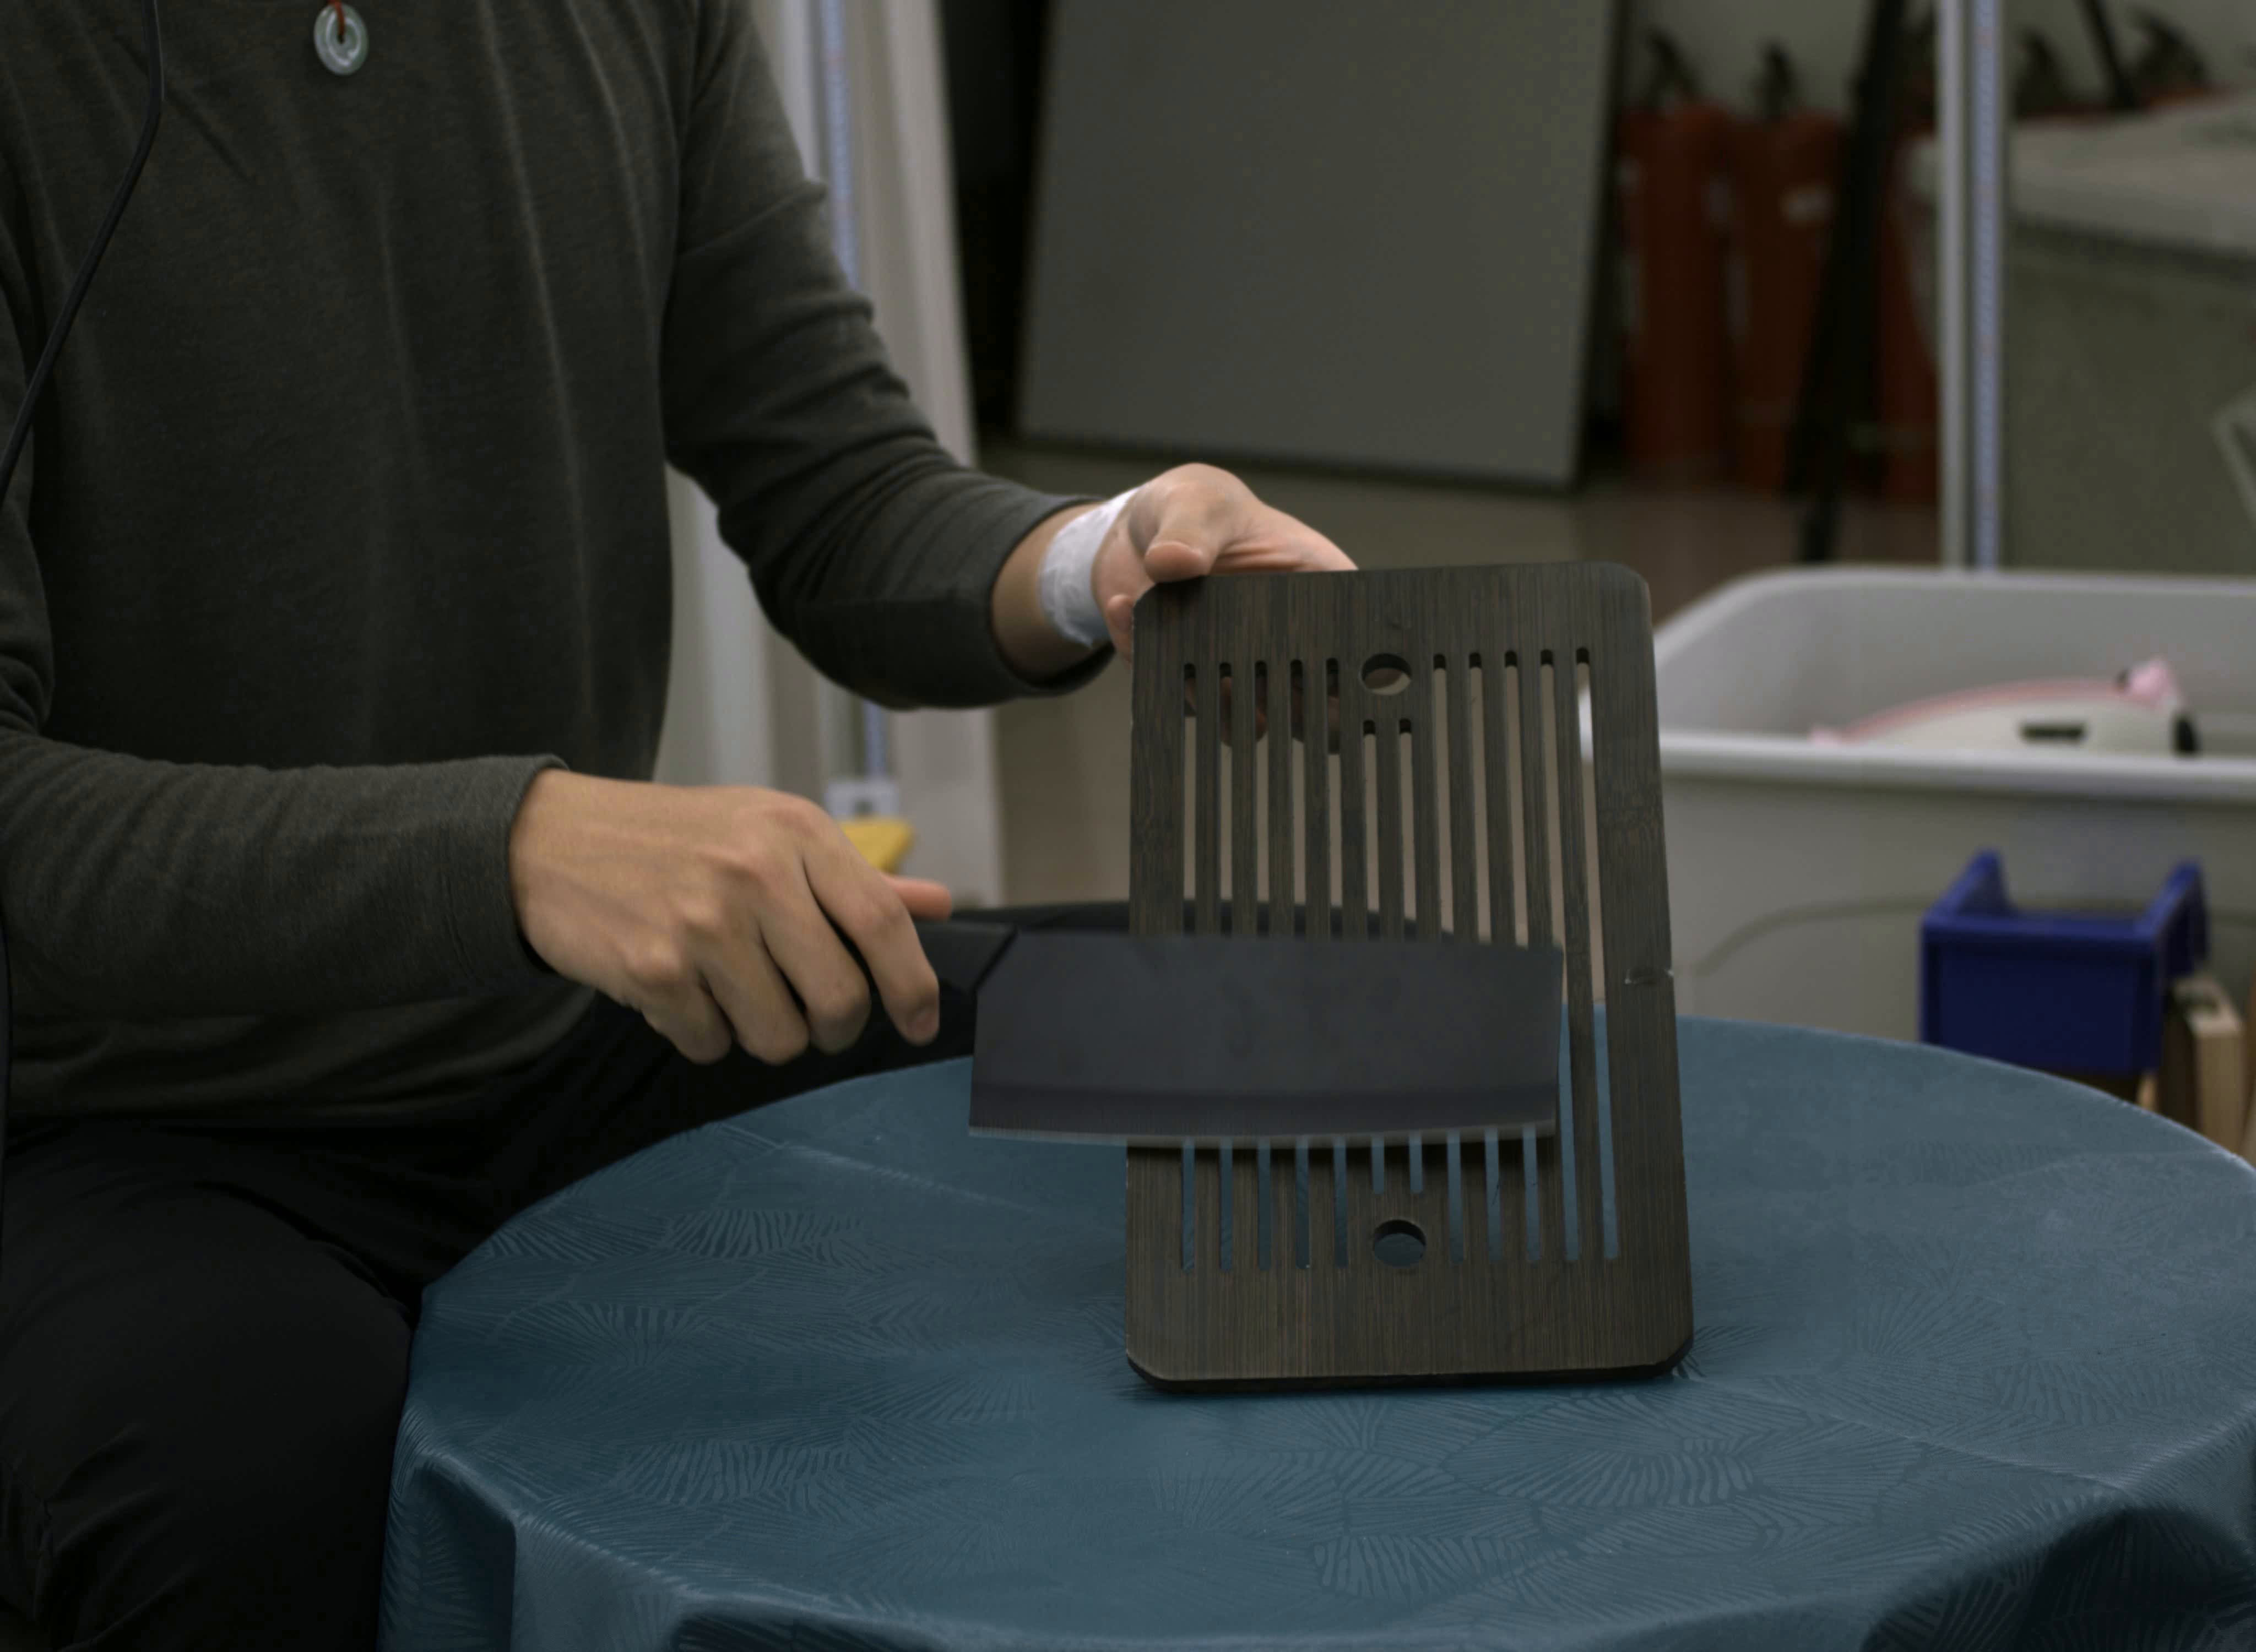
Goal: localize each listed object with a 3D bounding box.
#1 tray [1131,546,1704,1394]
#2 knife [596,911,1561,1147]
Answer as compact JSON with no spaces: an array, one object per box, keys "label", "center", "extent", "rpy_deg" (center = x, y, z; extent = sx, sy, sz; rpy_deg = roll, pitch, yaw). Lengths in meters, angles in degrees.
[{"label":"tray","center":[0.087,0.040,1.664],"extent":[0.168,0.018,0.309],"rpy_deg":[-4,52,7]},{"label":"knife","center":[-0.016,0.060,1.637],"extent":[0.300,0.082,0.021],"rpy_deg":[5,-22,13]}]
